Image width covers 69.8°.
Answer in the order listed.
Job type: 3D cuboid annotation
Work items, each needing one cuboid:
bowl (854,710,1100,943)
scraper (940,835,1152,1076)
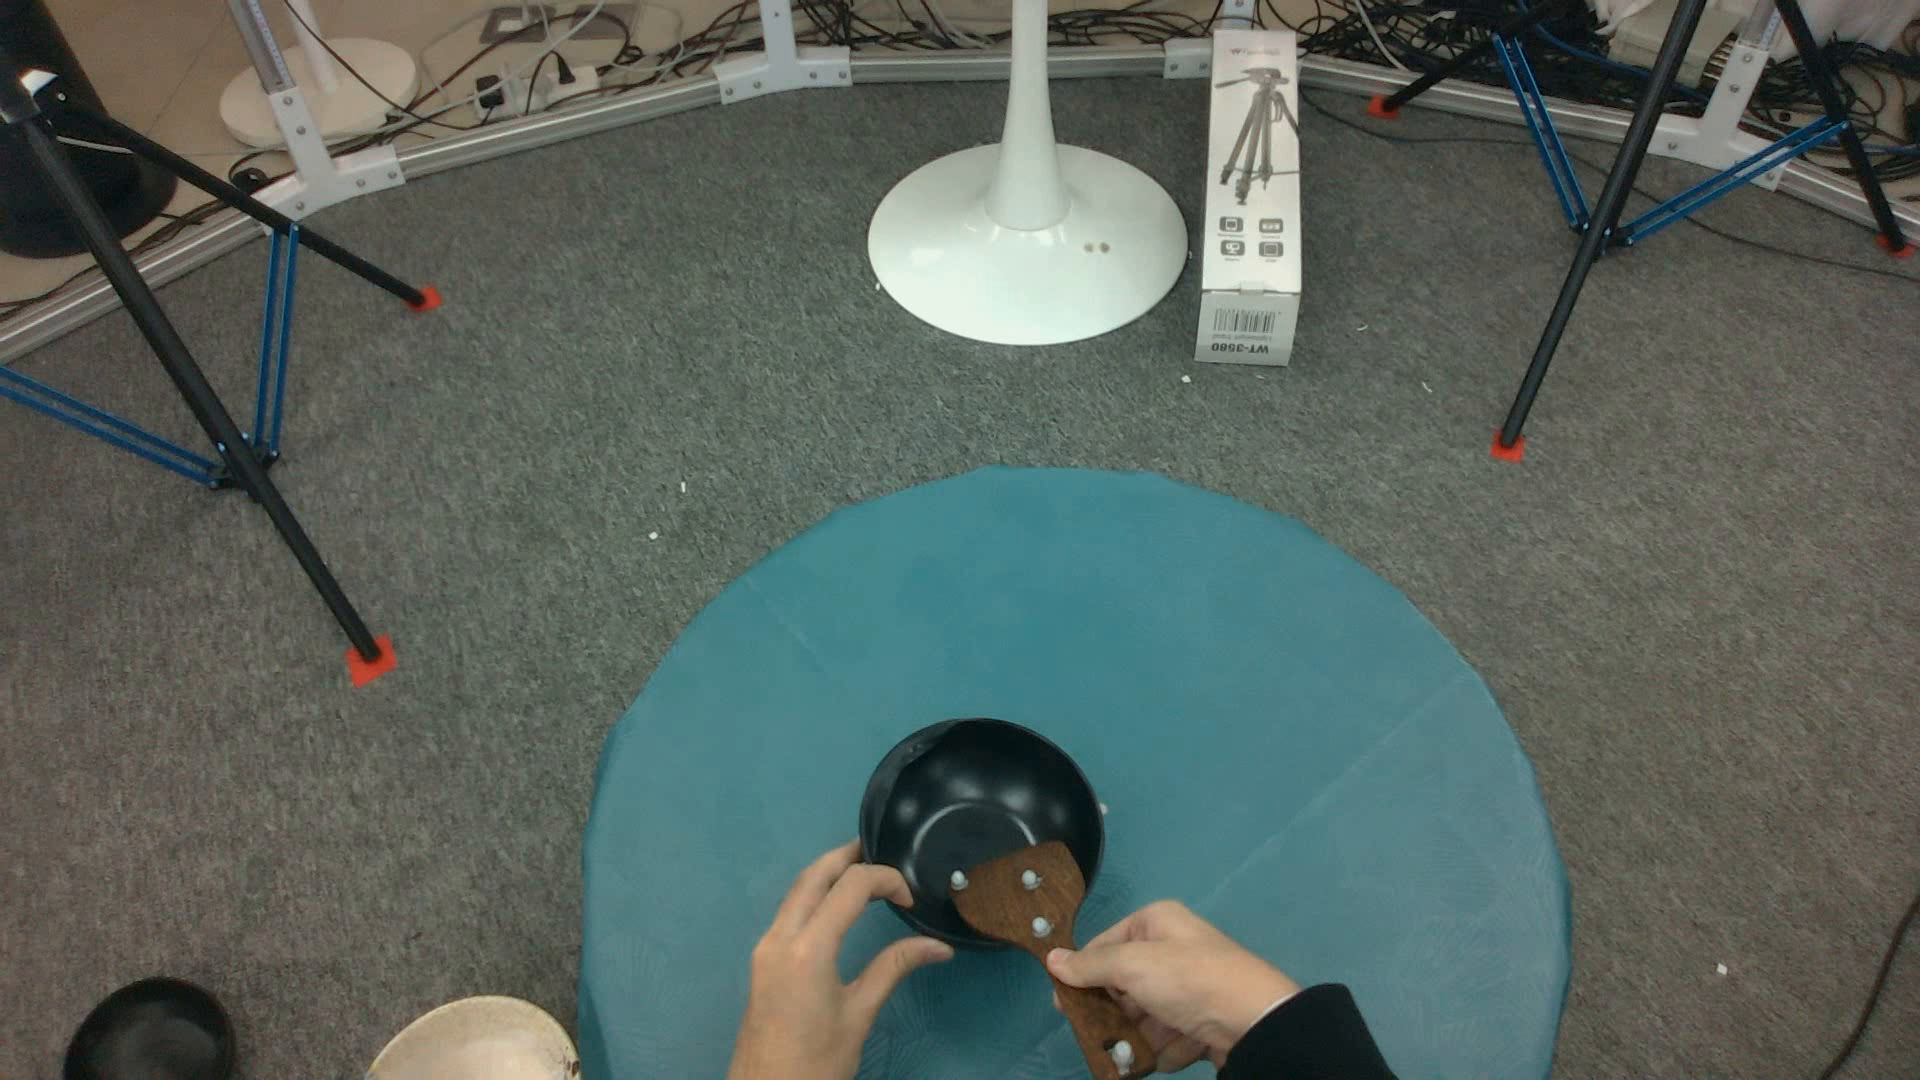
[{"bbox_3d":[0.007,0.169,0.784,0.140,0.049,0.140,5,51,-6],"label":"bowl"},{"bbox_3d":[0.047,0.204,0.689,0.076,0.011,0.211,-18,16,-10],"label":"scraper"}]
